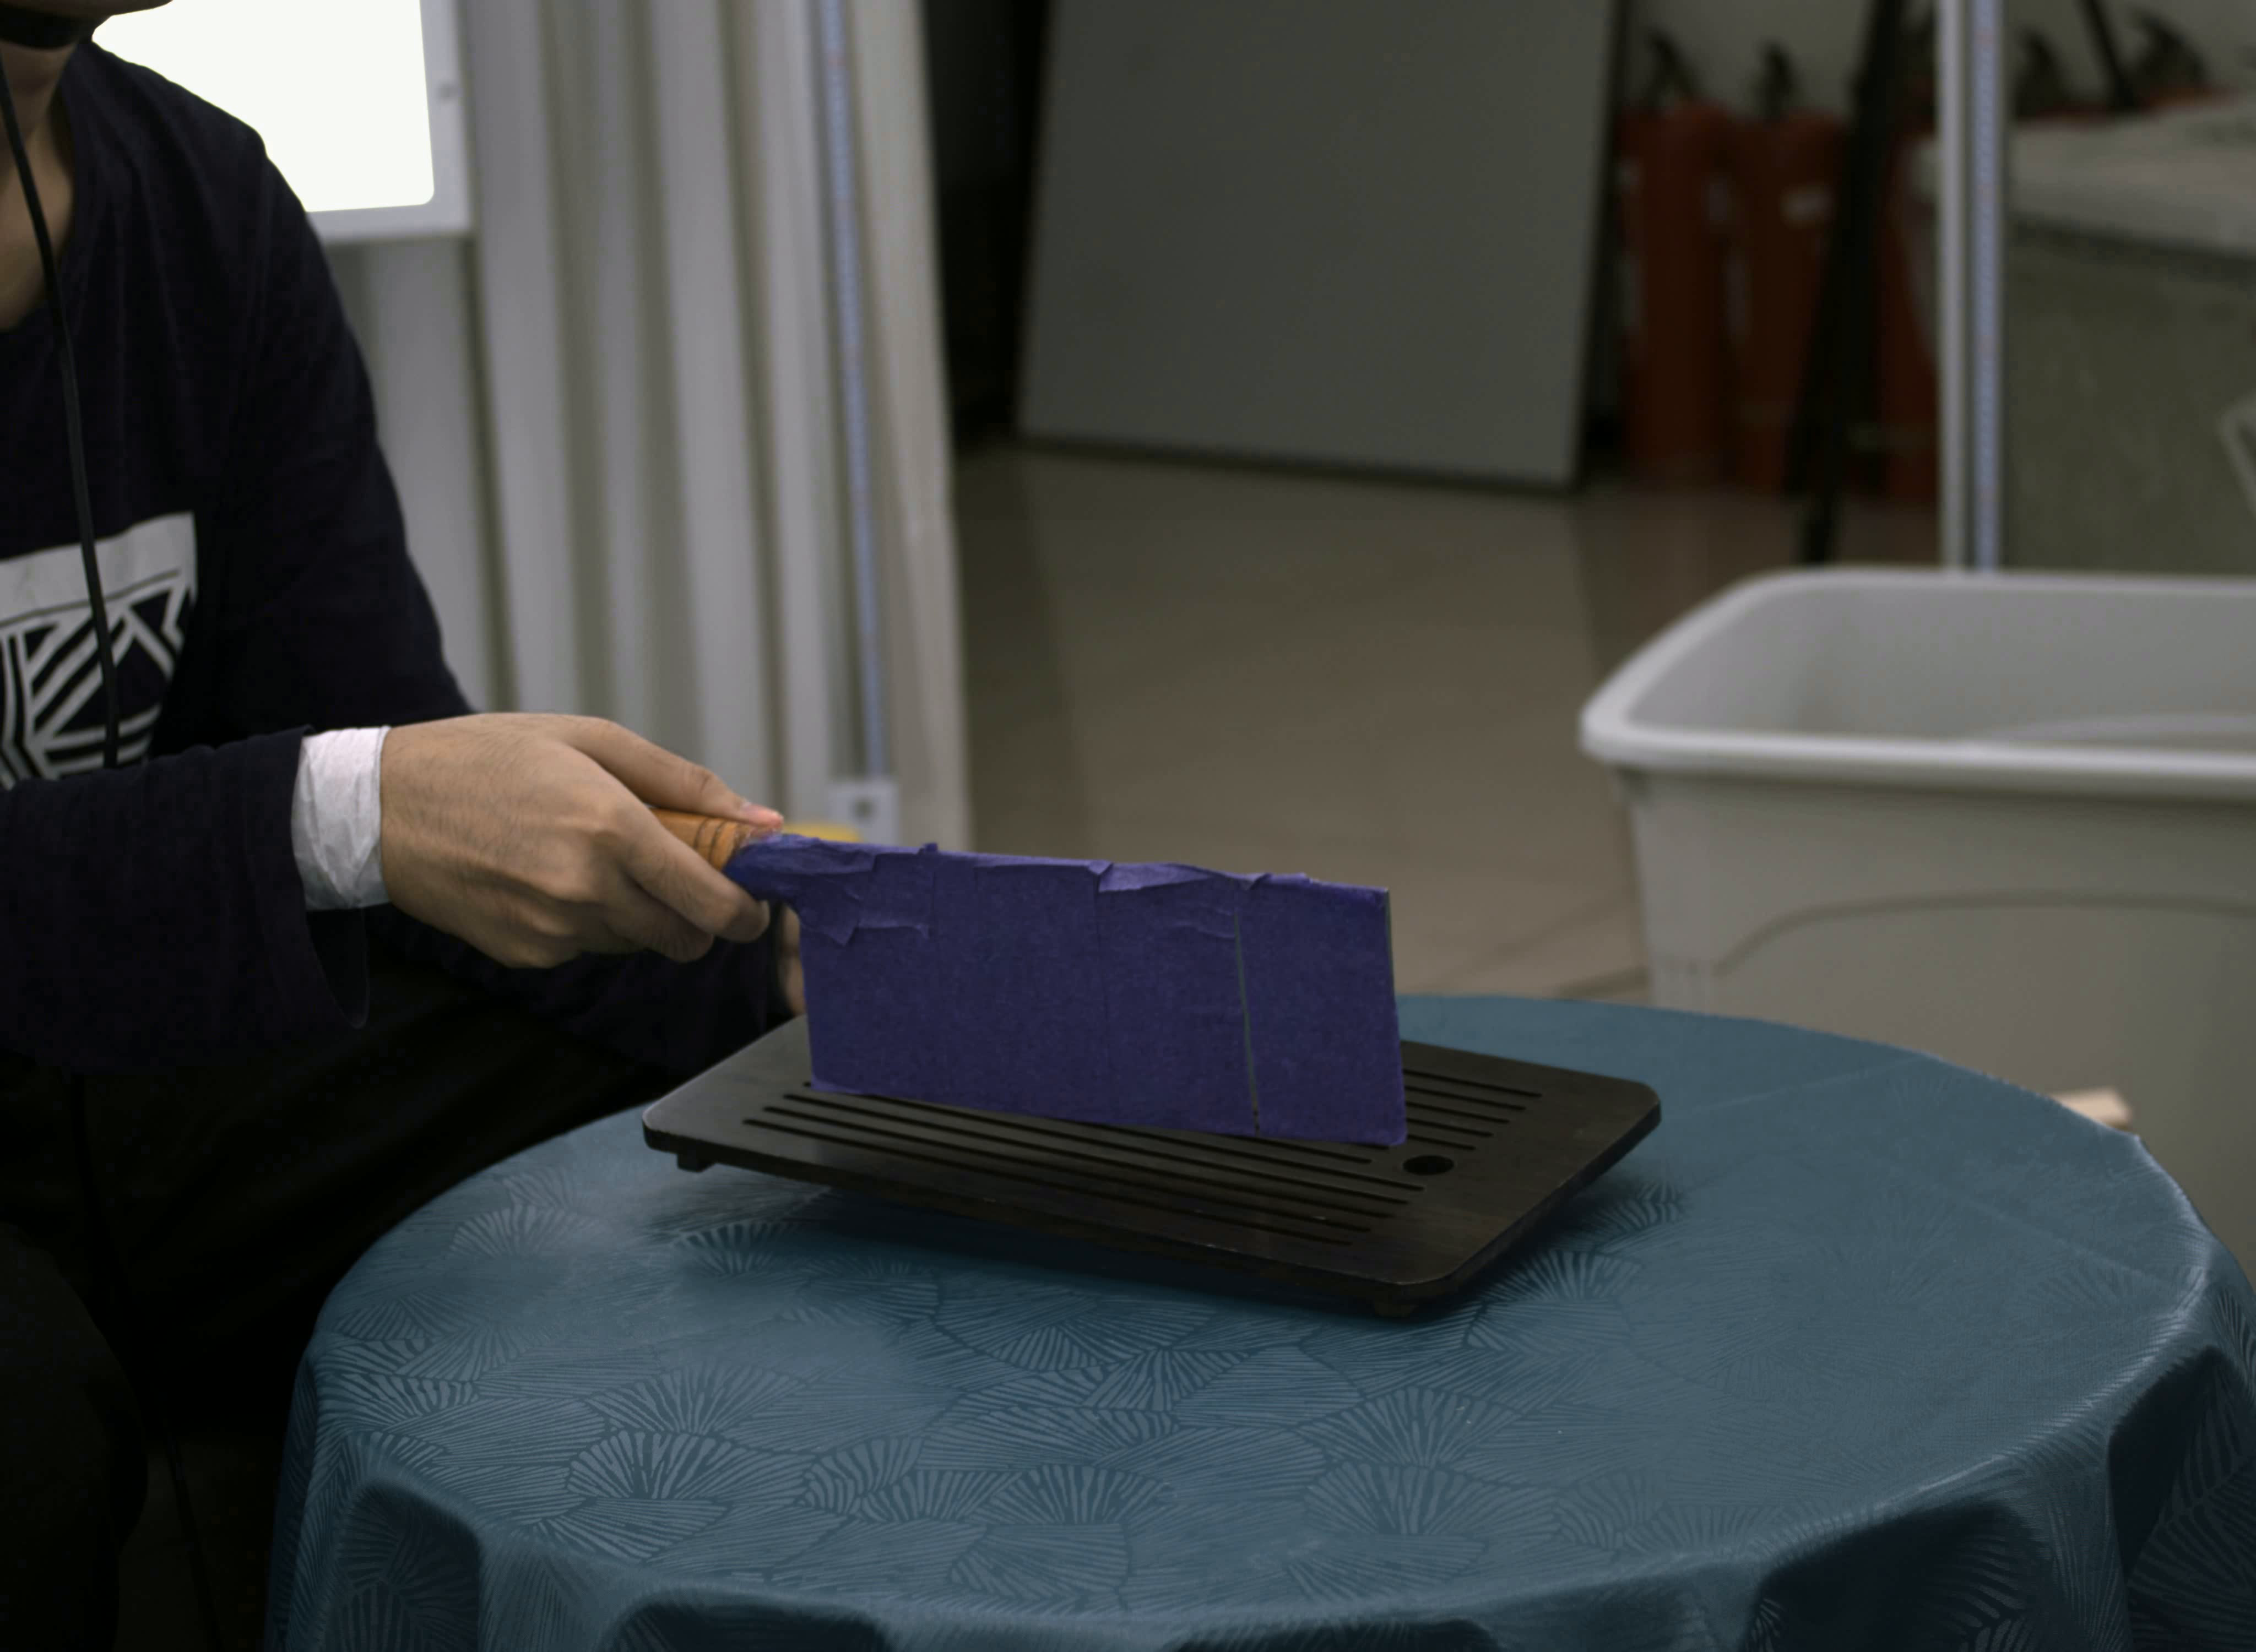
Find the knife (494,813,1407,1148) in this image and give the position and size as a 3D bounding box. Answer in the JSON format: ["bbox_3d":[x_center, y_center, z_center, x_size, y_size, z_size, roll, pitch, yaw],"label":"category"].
[{"bbox_3d":[-0.060,0.049,1.725,0.316,0.105,0.032,4,20,26],"label":"knife"}]

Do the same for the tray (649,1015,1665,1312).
[{"bbox_3d":[0.009,0.099,1.765,0.307,0.019,0.167,8,23,32],"label":"tray"}]
